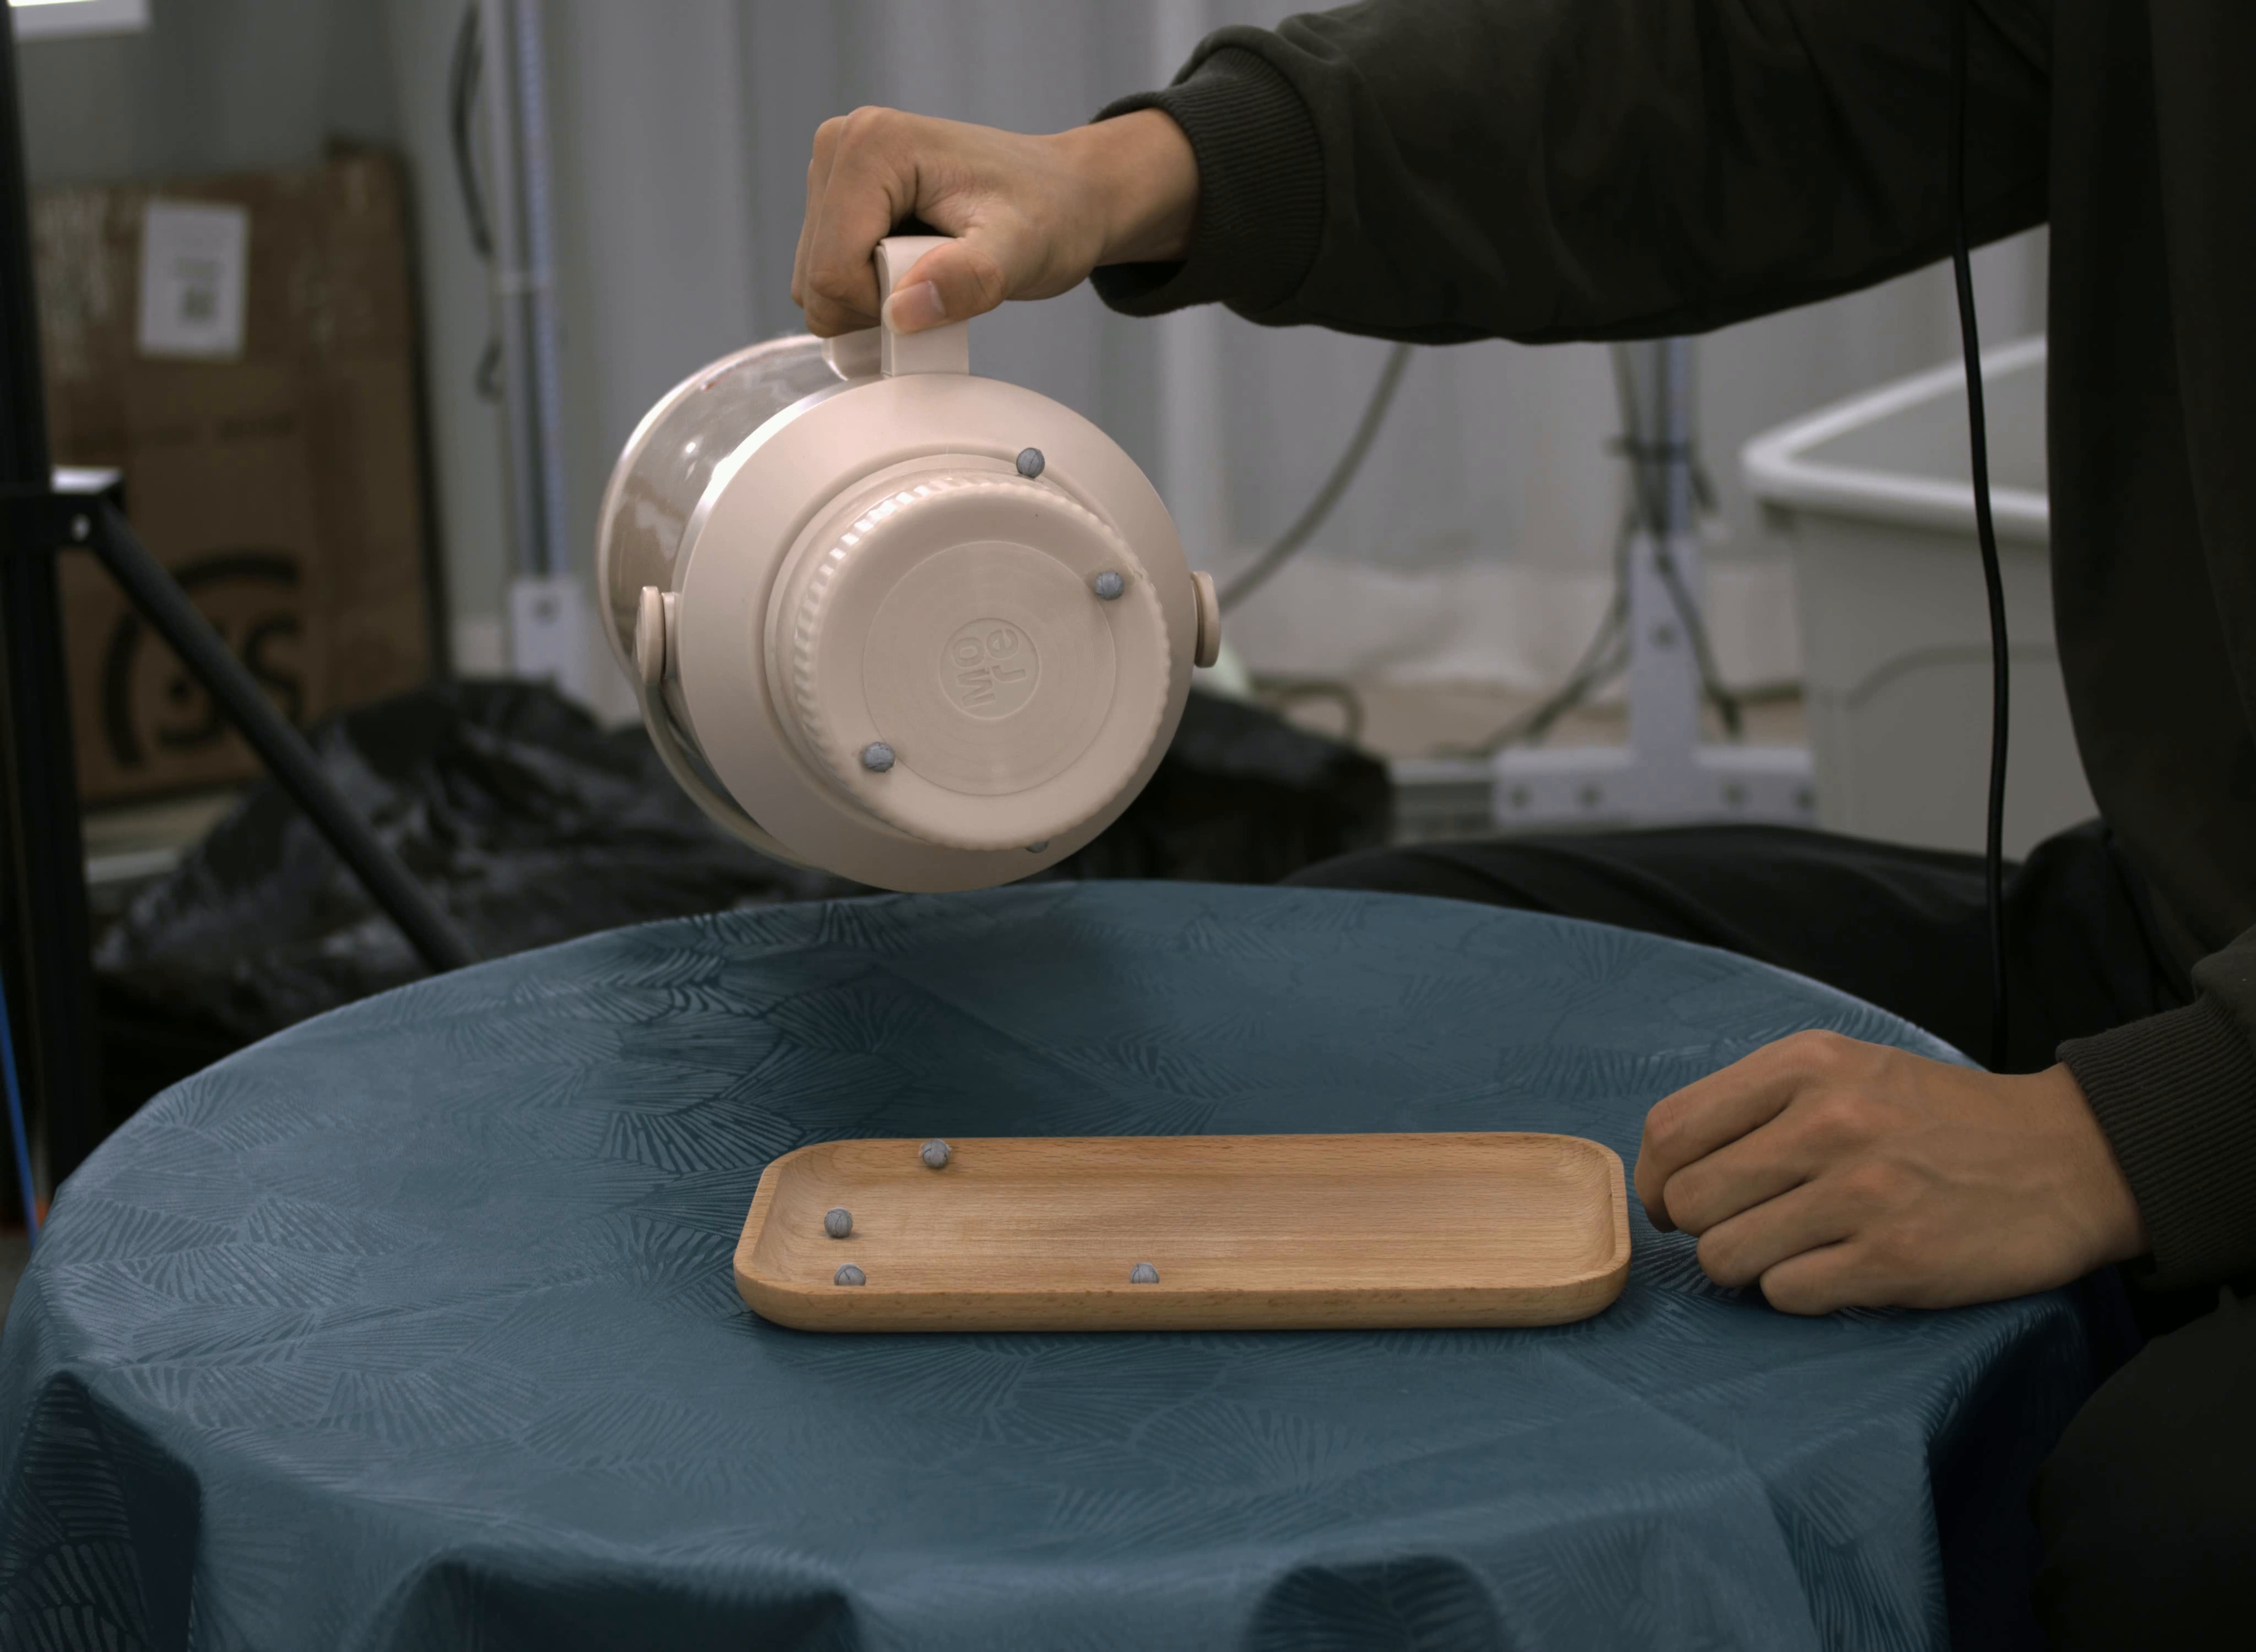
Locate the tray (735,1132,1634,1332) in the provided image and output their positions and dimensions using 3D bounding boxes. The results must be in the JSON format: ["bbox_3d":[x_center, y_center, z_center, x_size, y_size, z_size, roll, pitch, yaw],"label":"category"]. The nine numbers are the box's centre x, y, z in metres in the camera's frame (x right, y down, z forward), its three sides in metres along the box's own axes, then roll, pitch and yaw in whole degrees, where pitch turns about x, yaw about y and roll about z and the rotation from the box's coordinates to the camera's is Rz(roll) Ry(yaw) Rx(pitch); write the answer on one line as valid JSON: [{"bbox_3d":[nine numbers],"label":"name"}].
[{"bbox_3d":[0.017,0.115,1.503,0.251,0.023,0.130,0,18,6],"label":"tray"}]

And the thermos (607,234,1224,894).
[{"bbox_3d":[-0.070,-0.082,1.682,0.173,0.207,0.409,-3,7,-8],"label":"thermos"}]
